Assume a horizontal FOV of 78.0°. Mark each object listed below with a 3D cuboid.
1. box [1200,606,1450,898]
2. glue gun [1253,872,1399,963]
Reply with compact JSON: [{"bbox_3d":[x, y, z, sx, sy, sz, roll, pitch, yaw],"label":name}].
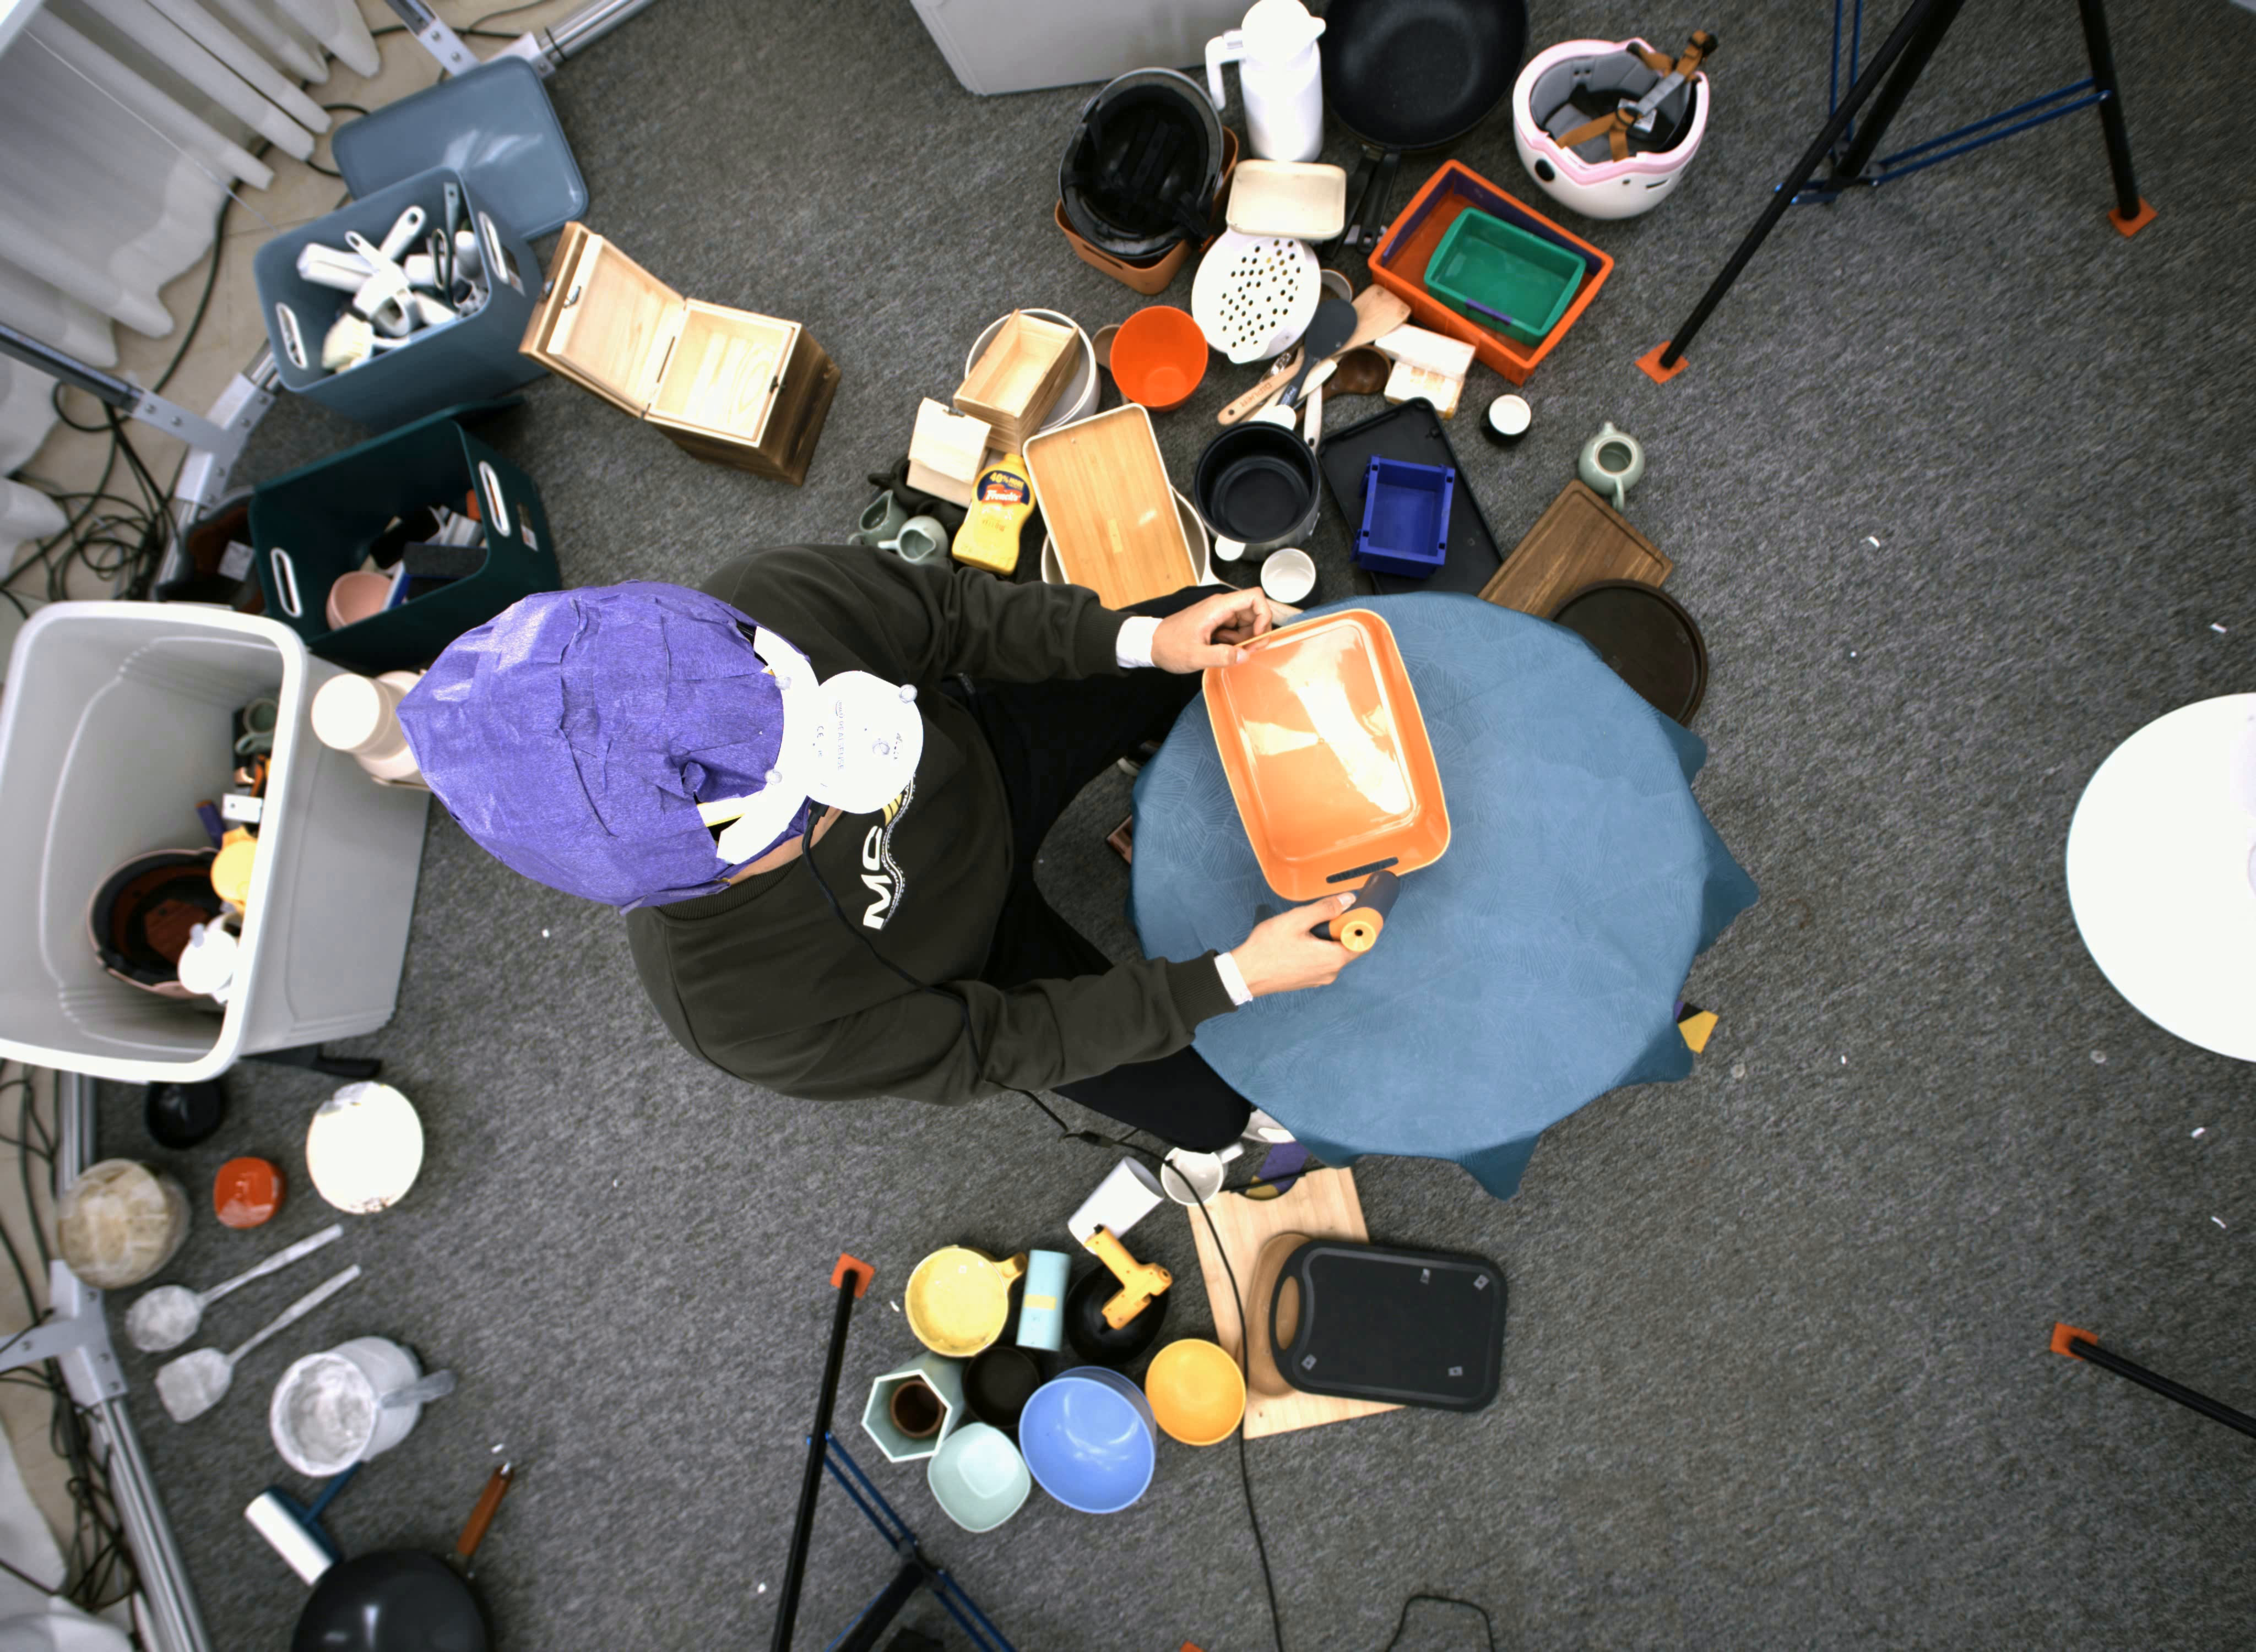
[{"bbox_3d":[0.197,-0.080,1.394,0.200,0.101,0.276,-18,105,10],"label":"box"},{"bbox_3d":[0.195,0.086,1.342,0.141,0.115,0.041,-15,108,16],"label":"glue gun"}]
